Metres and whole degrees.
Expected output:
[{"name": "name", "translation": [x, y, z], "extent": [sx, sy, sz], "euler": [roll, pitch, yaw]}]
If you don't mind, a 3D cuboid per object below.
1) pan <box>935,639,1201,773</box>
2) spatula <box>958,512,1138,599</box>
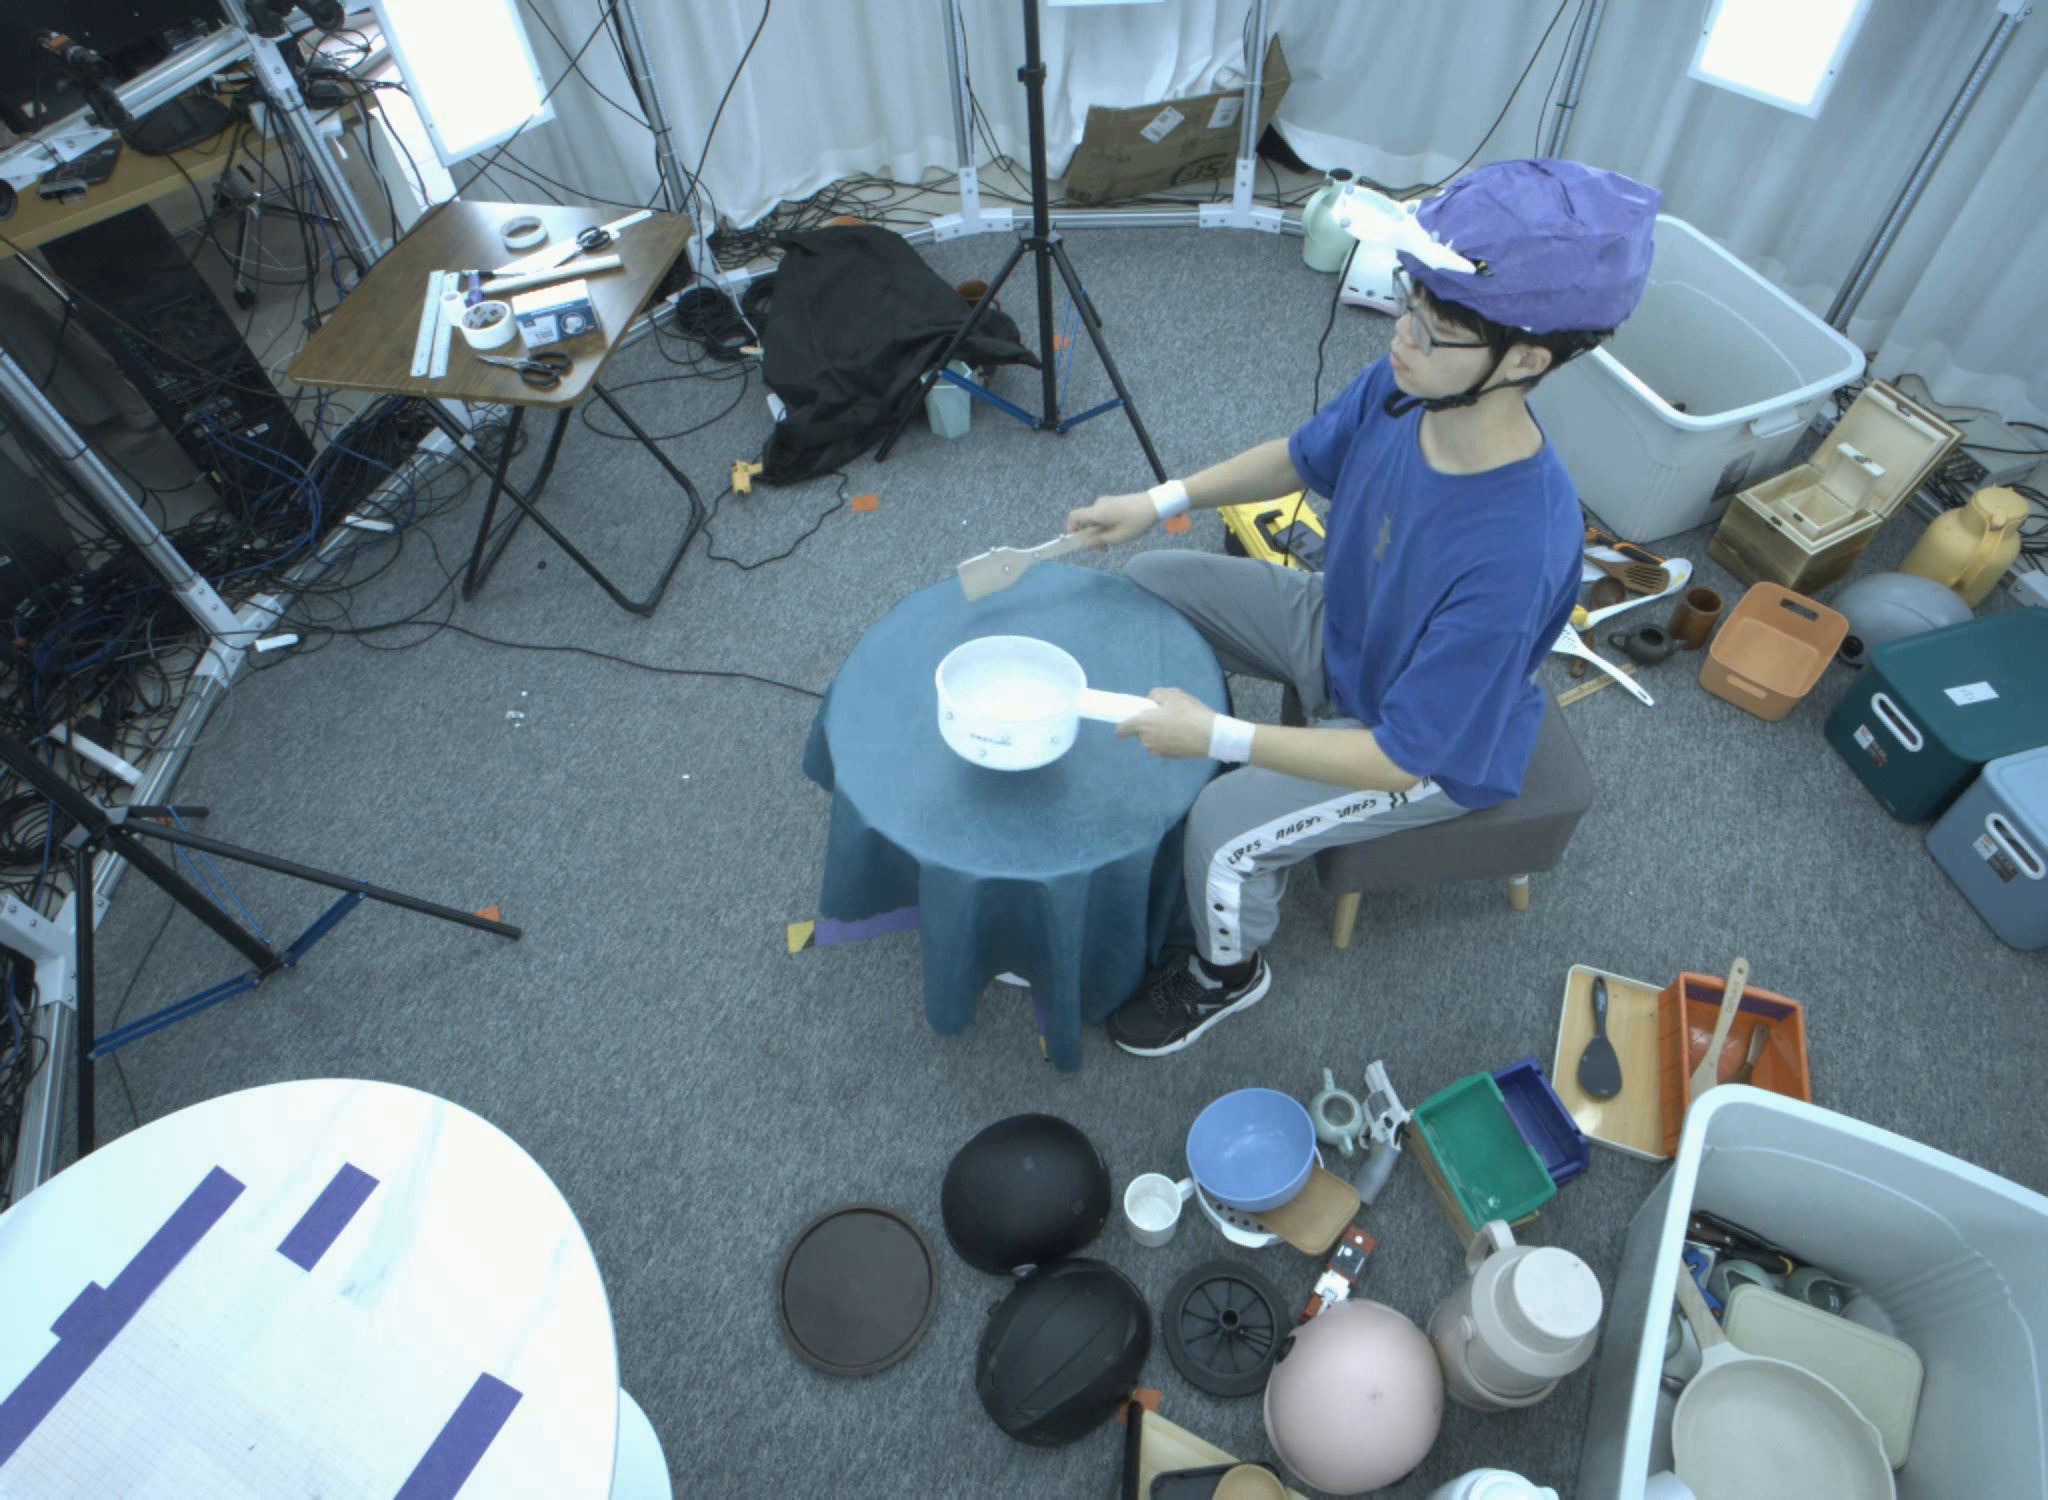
[{"name": "pan", "translation": [0.055, -0.042, 1.652], "extent": [0.353, 0.103, 0.200], "euler": [10, 38, 6]}, {"name": "spatula", "translation": [0.040, -0.313, 1.907], "extent": [0.294, 0.073, 0.010], "euler": [-21, 42, -5]}]
